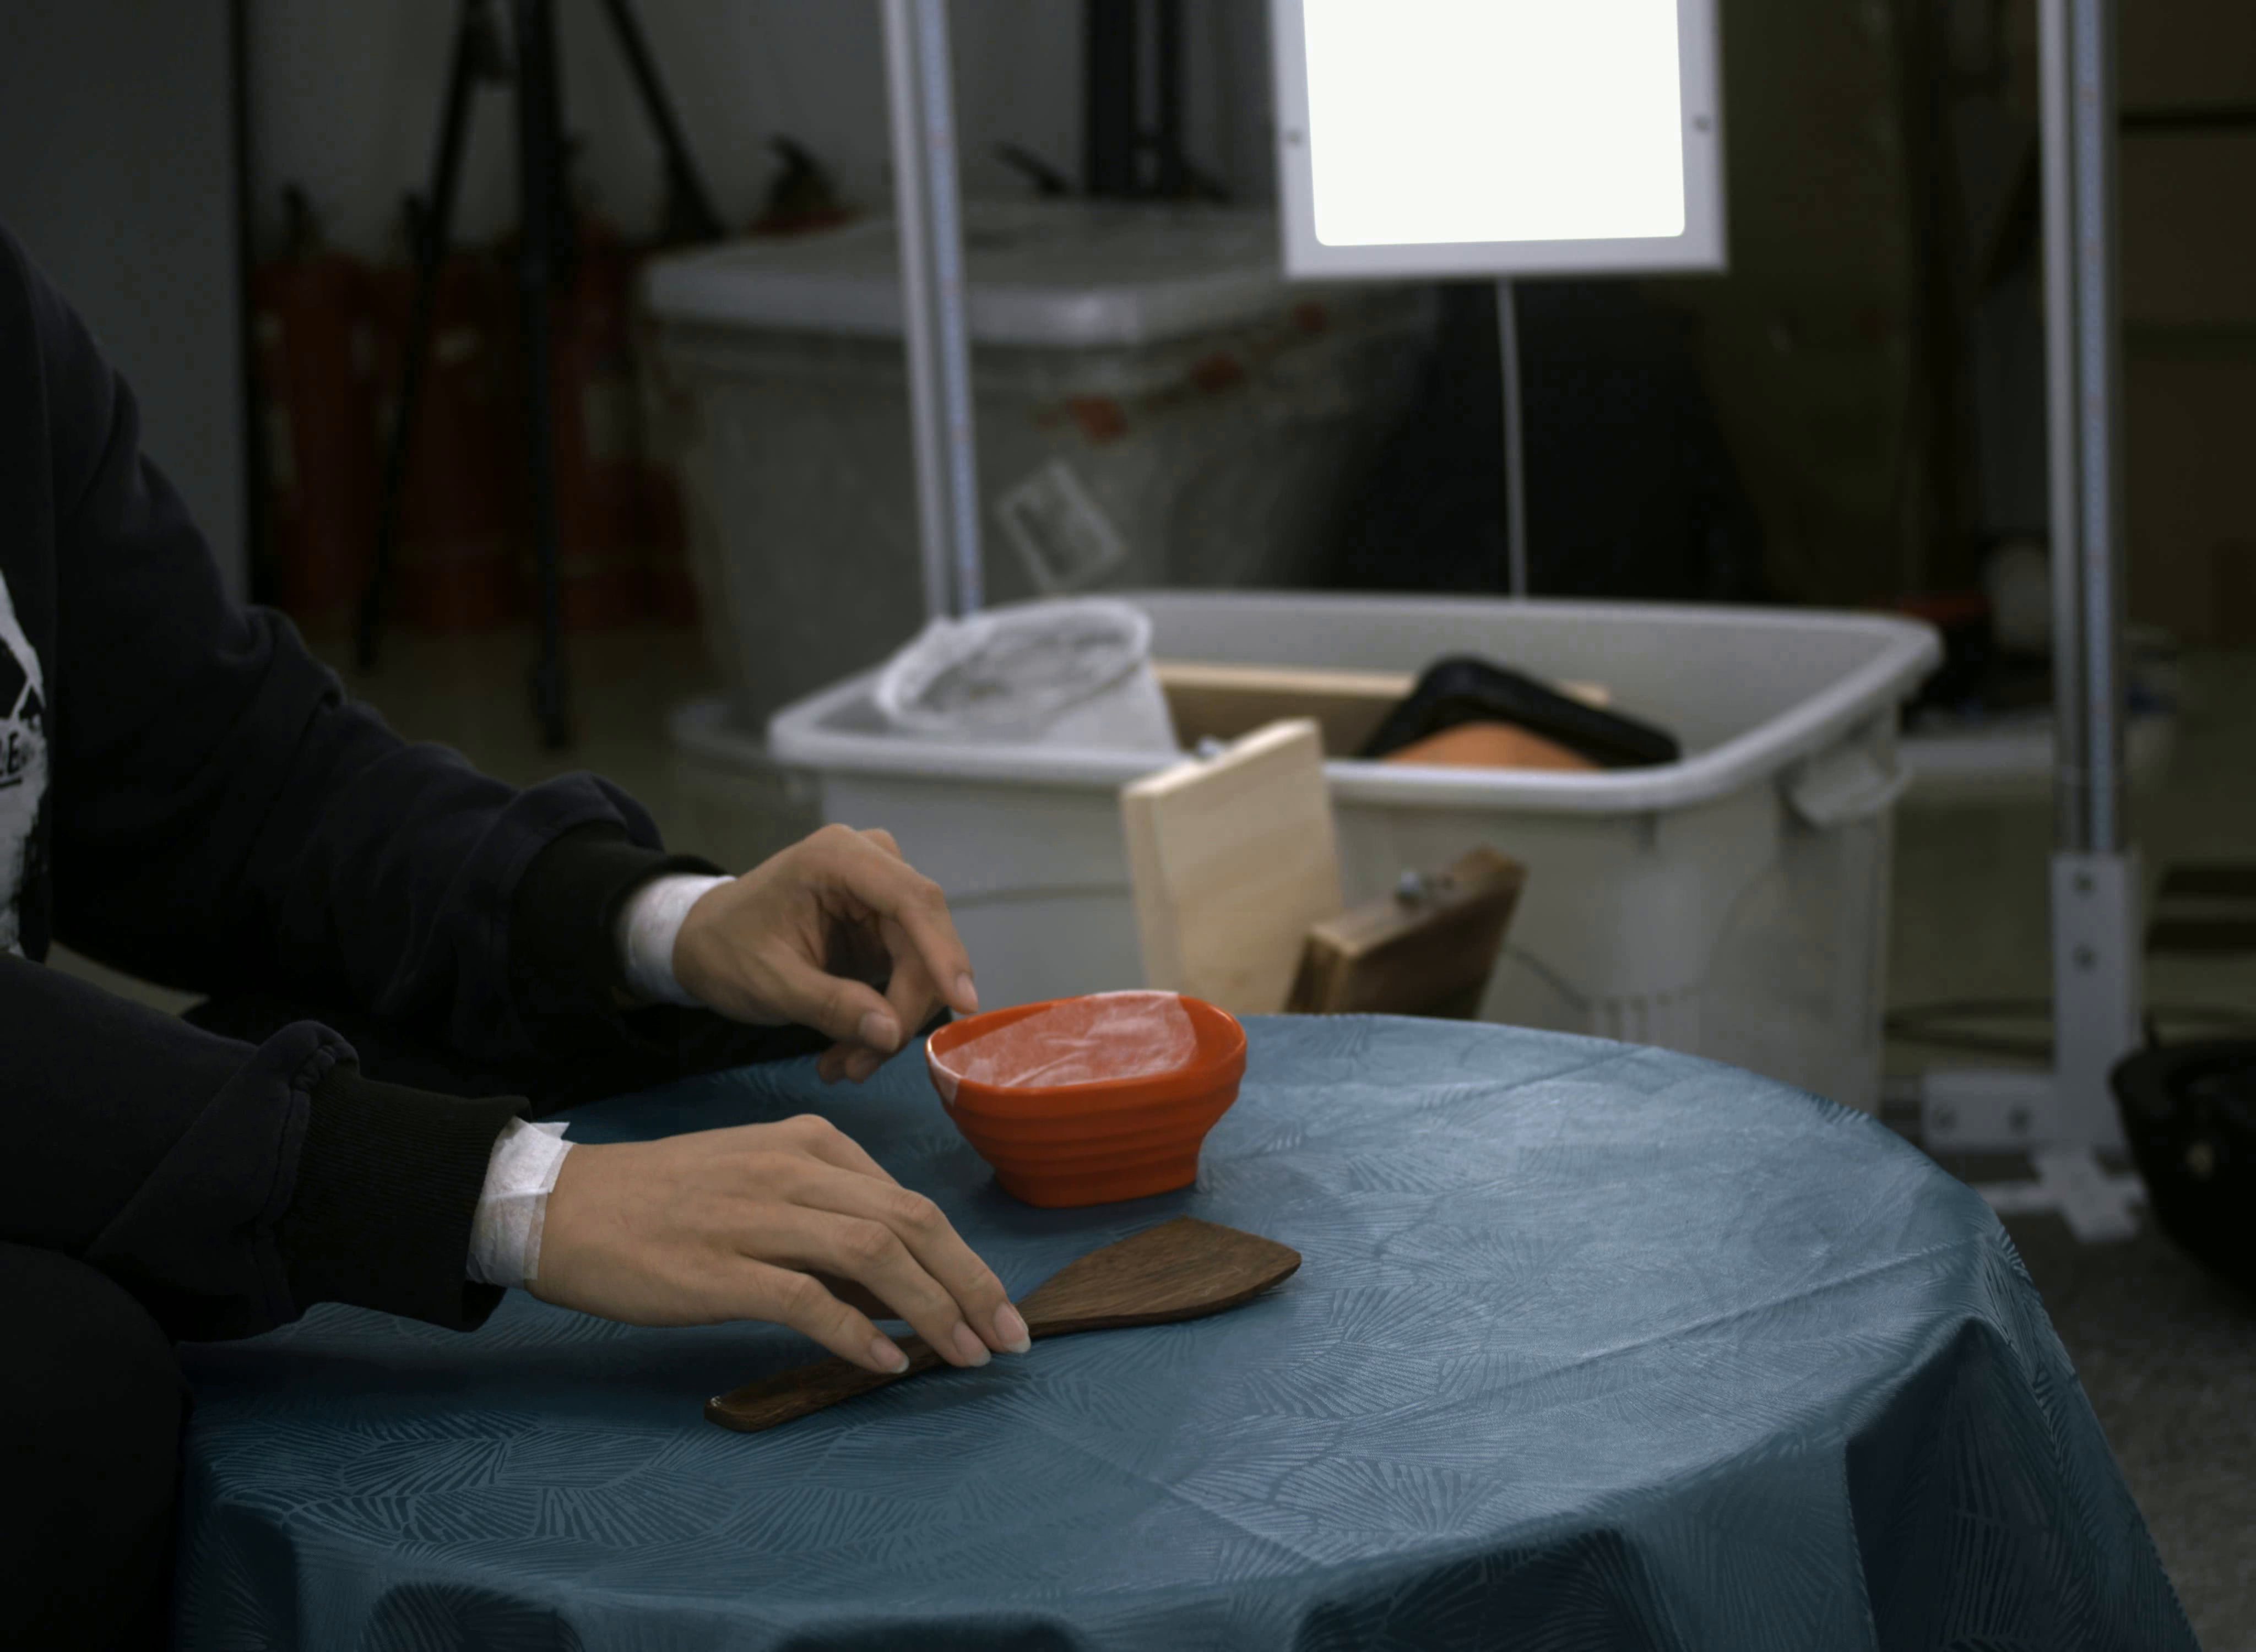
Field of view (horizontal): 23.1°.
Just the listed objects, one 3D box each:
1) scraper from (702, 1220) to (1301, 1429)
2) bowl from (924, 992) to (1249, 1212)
[{"bbox_3d":[-0.043,0.161,1.757,0.206,0.011,0.077,-15,16,-33],"label":"scraper"},{"bbox_3d":[-0.013,0.098,1.914,0.118,0.051,0.119,-4,15,0],"label":"bowl"}]
